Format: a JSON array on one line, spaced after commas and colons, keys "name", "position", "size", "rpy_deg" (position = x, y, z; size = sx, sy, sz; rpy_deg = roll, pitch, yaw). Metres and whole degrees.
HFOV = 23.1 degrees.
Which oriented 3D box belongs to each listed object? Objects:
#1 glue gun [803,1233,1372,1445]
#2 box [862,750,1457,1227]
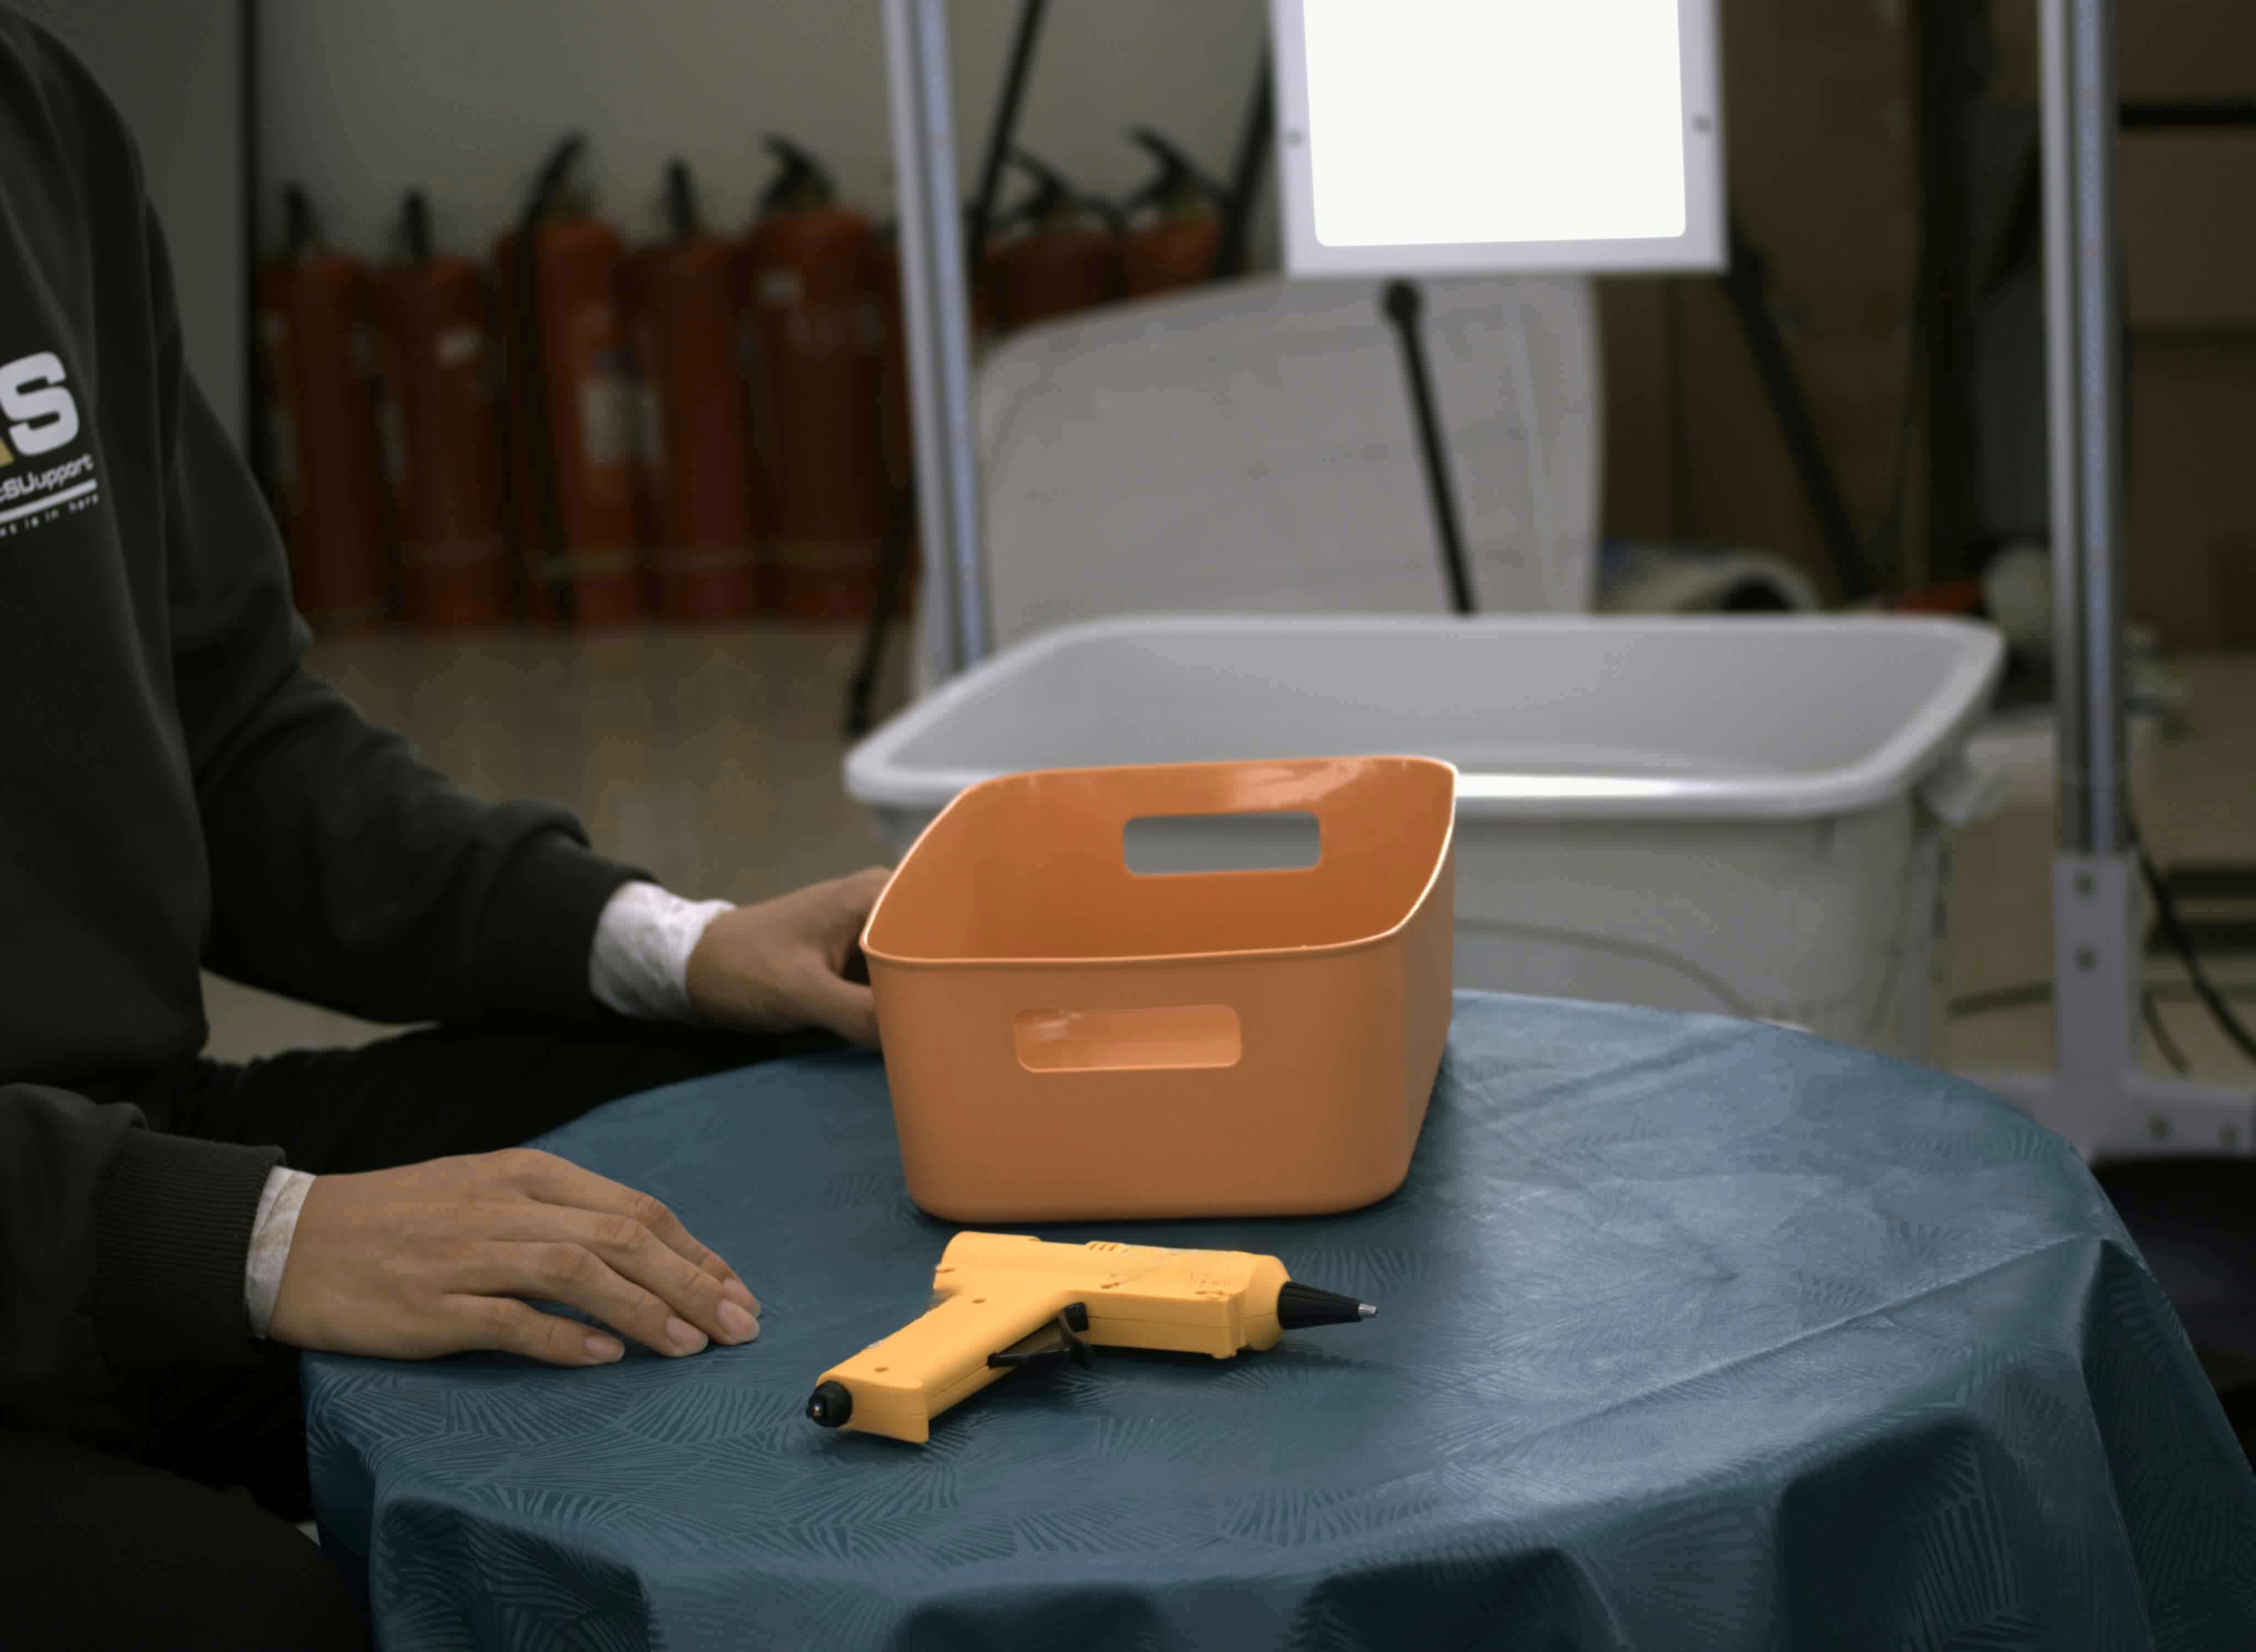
[{"name": "glue gun", "position": [-0.008, 0.162, 1.705], "size": [0.153, 0.031, 0.130], "rpy_deg": [1, 17, 22]}, {"name": "box", "position": [0.019, 0.057, 1.962], "size": [0.200, 0.103, 0.270], "rpy_deg": [-3, 14, 9]}]
